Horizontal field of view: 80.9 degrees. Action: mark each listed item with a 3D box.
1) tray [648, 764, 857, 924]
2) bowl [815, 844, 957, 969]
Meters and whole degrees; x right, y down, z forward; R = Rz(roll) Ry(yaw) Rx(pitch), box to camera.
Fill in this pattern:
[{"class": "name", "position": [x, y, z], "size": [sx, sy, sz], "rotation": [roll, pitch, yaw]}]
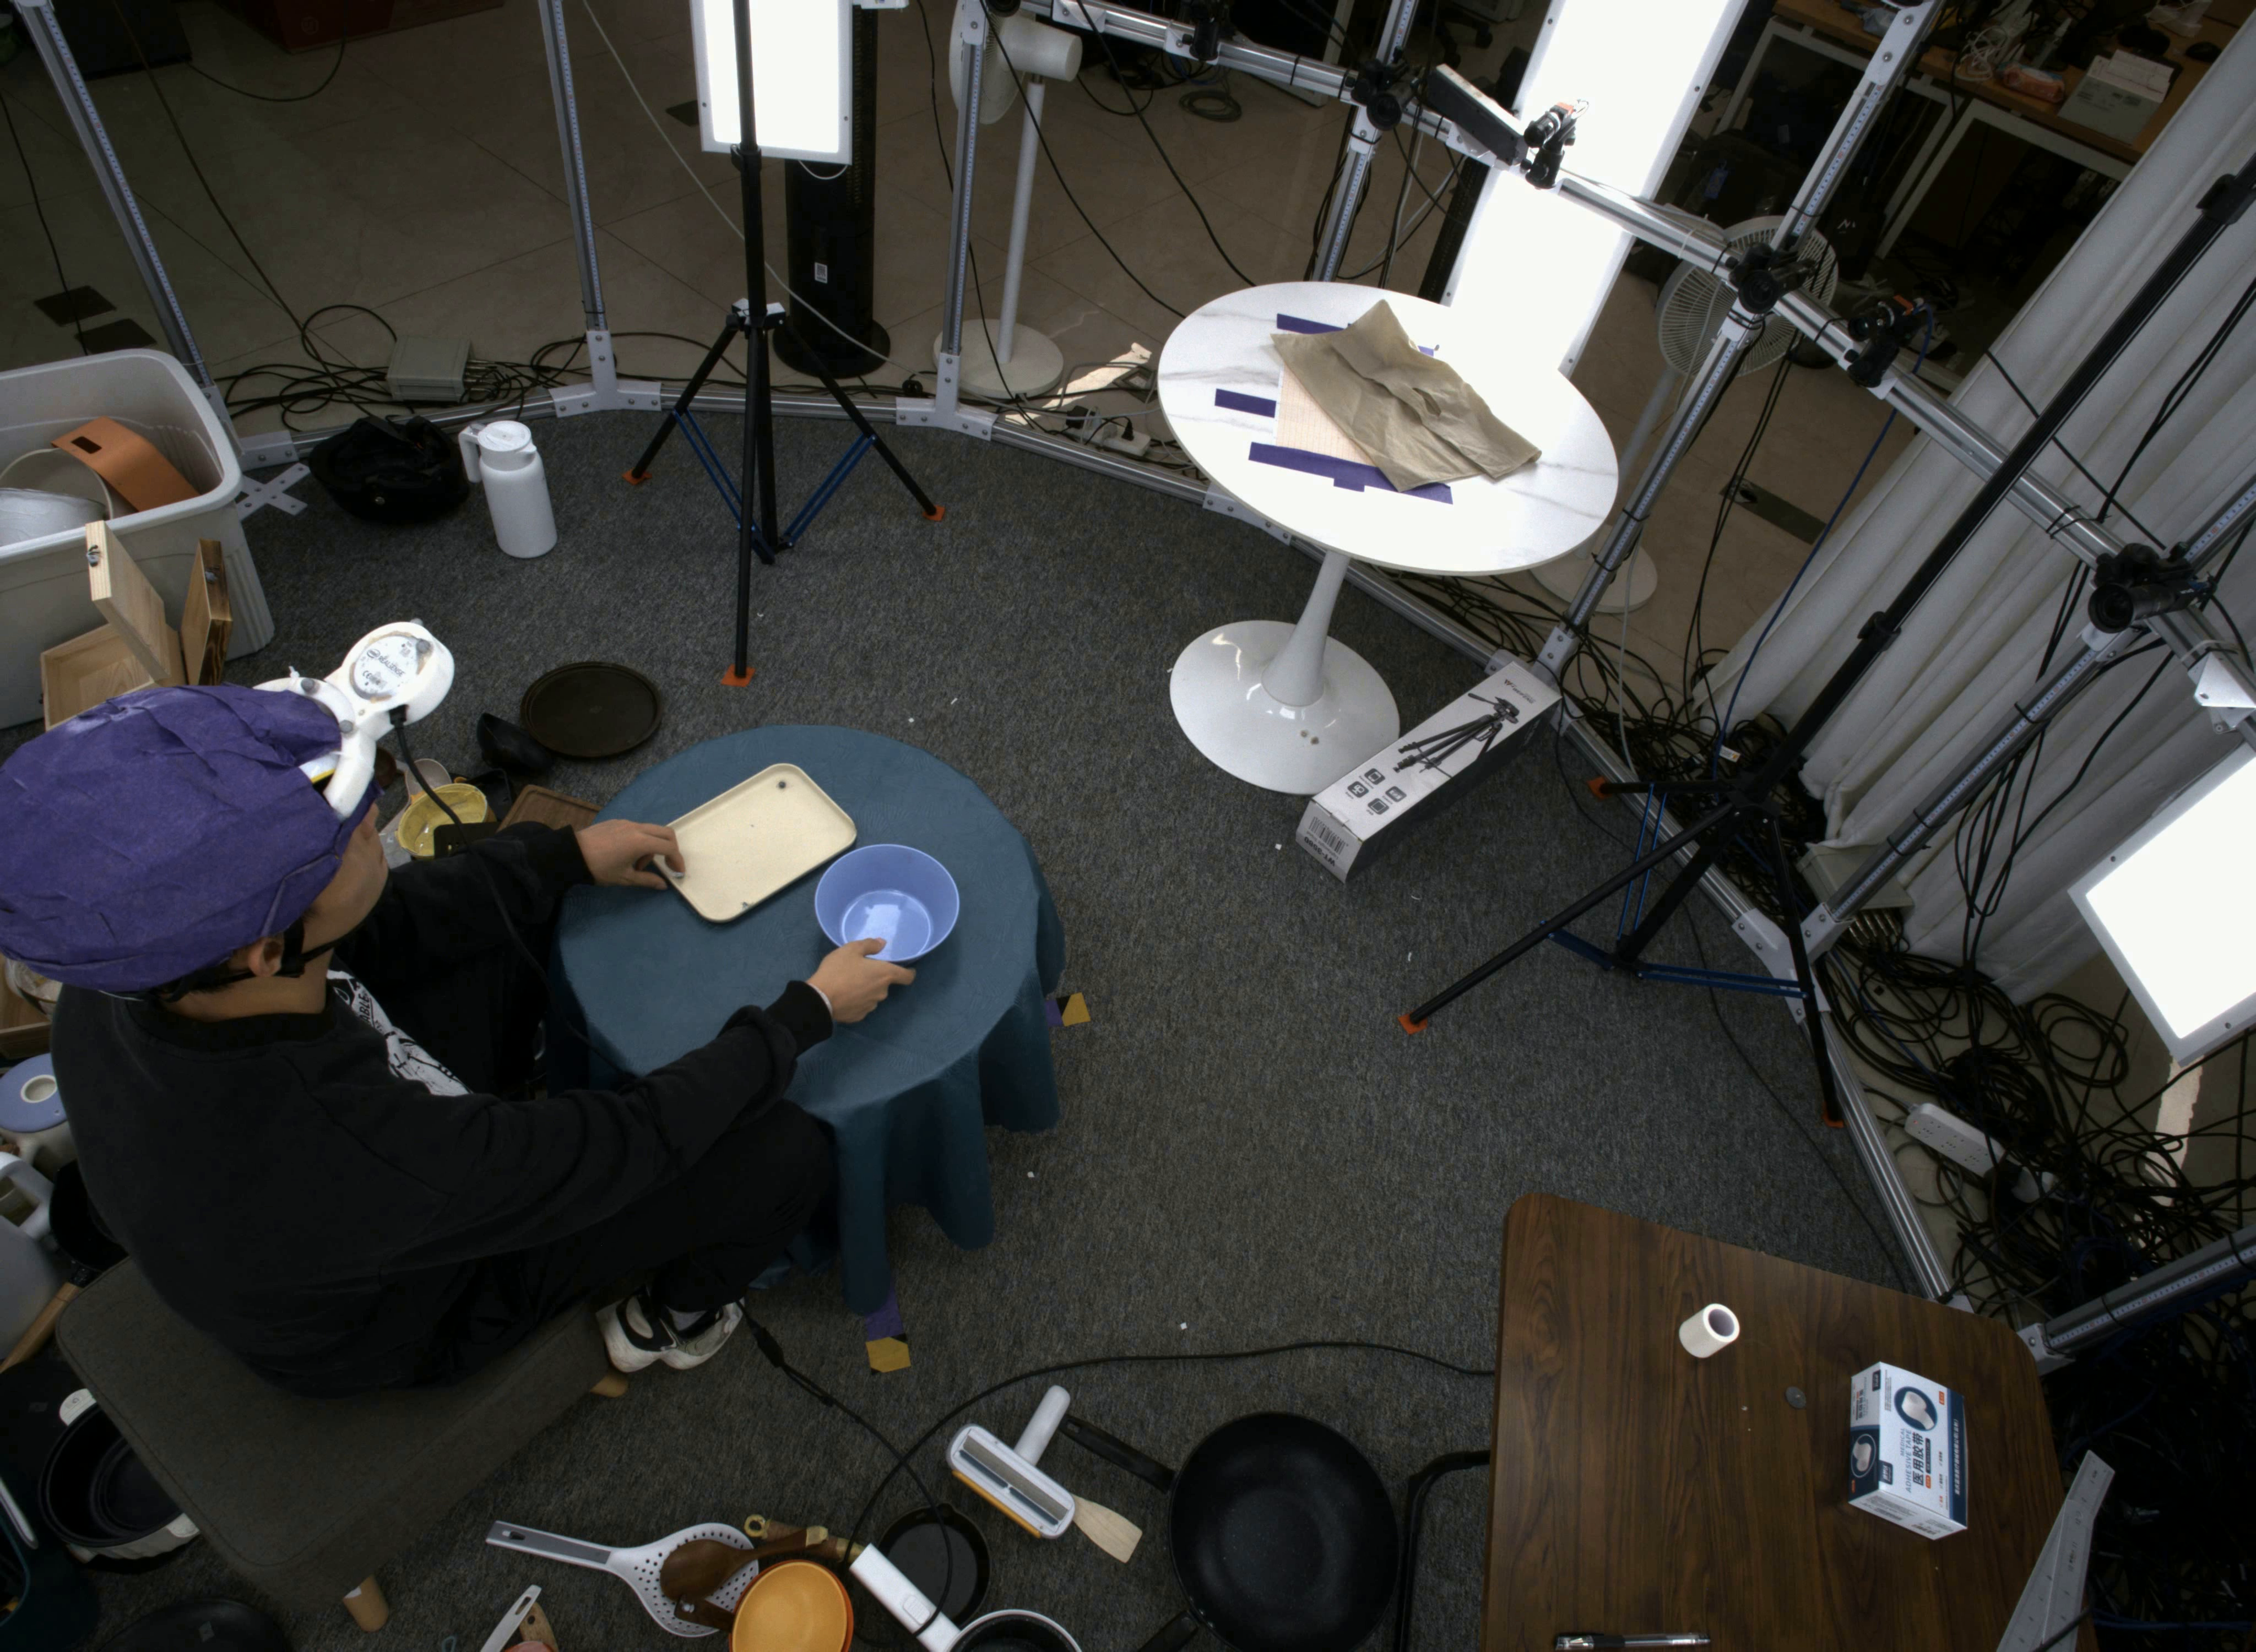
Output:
[{"class": "tray", "position": [-0.488, 0.020, 1.687], "size": [0.167, 0.018, 0.240], "rotation": [42, 55, 18]}, {"class": "bowl", "position": [-0.303, 0.111, 1.632], "size": [0.176, 0.072, 0.173], "rotation": [8, 51, -9]}]
